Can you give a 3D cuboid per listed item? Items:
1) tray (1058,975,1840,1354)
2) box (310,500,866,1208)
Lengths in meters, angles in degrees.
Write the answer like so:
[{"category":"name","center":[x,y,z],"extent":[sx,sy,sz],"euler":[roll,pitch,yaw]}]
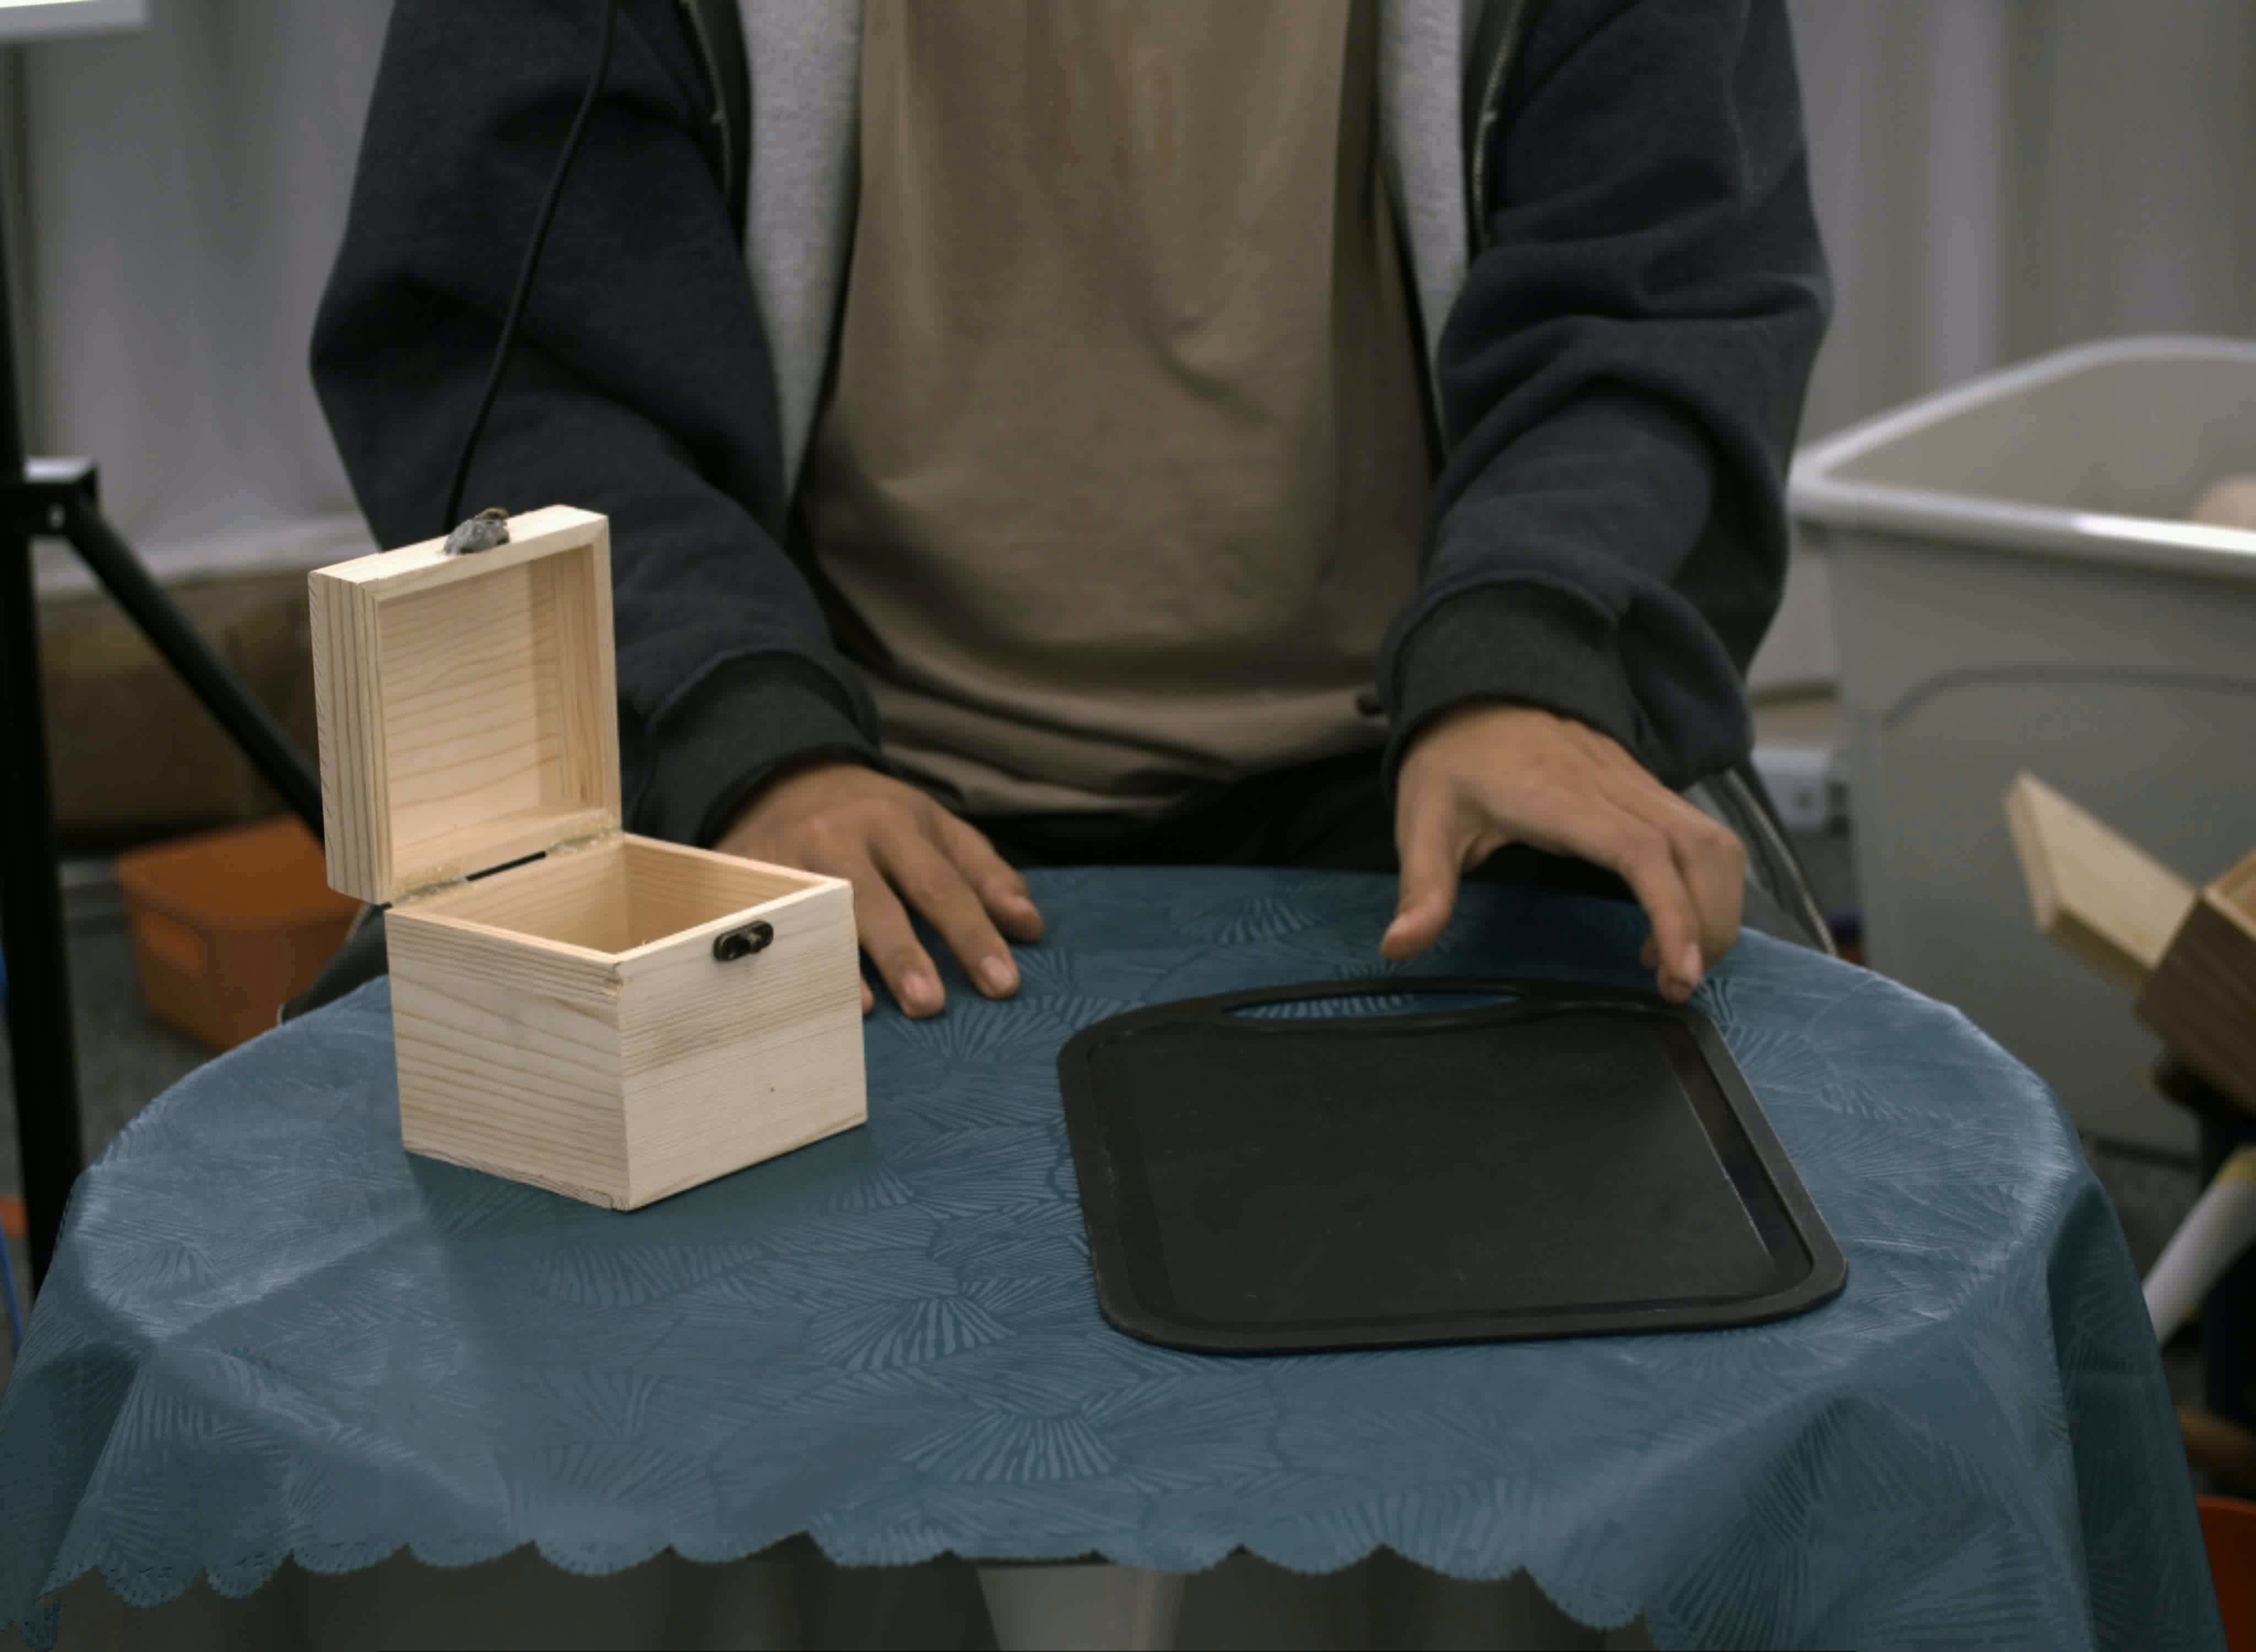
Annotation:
[{"category":"tray","center":[0.087,0.094,1.583],"extent":[0.210,0.010,0.327],"euler":[-3,16,-2]},{"category":"box","center":[-0.161,0.005,1.613],"extent":[0.137,0.184,0.100],"euler":[10,20,42]}]
